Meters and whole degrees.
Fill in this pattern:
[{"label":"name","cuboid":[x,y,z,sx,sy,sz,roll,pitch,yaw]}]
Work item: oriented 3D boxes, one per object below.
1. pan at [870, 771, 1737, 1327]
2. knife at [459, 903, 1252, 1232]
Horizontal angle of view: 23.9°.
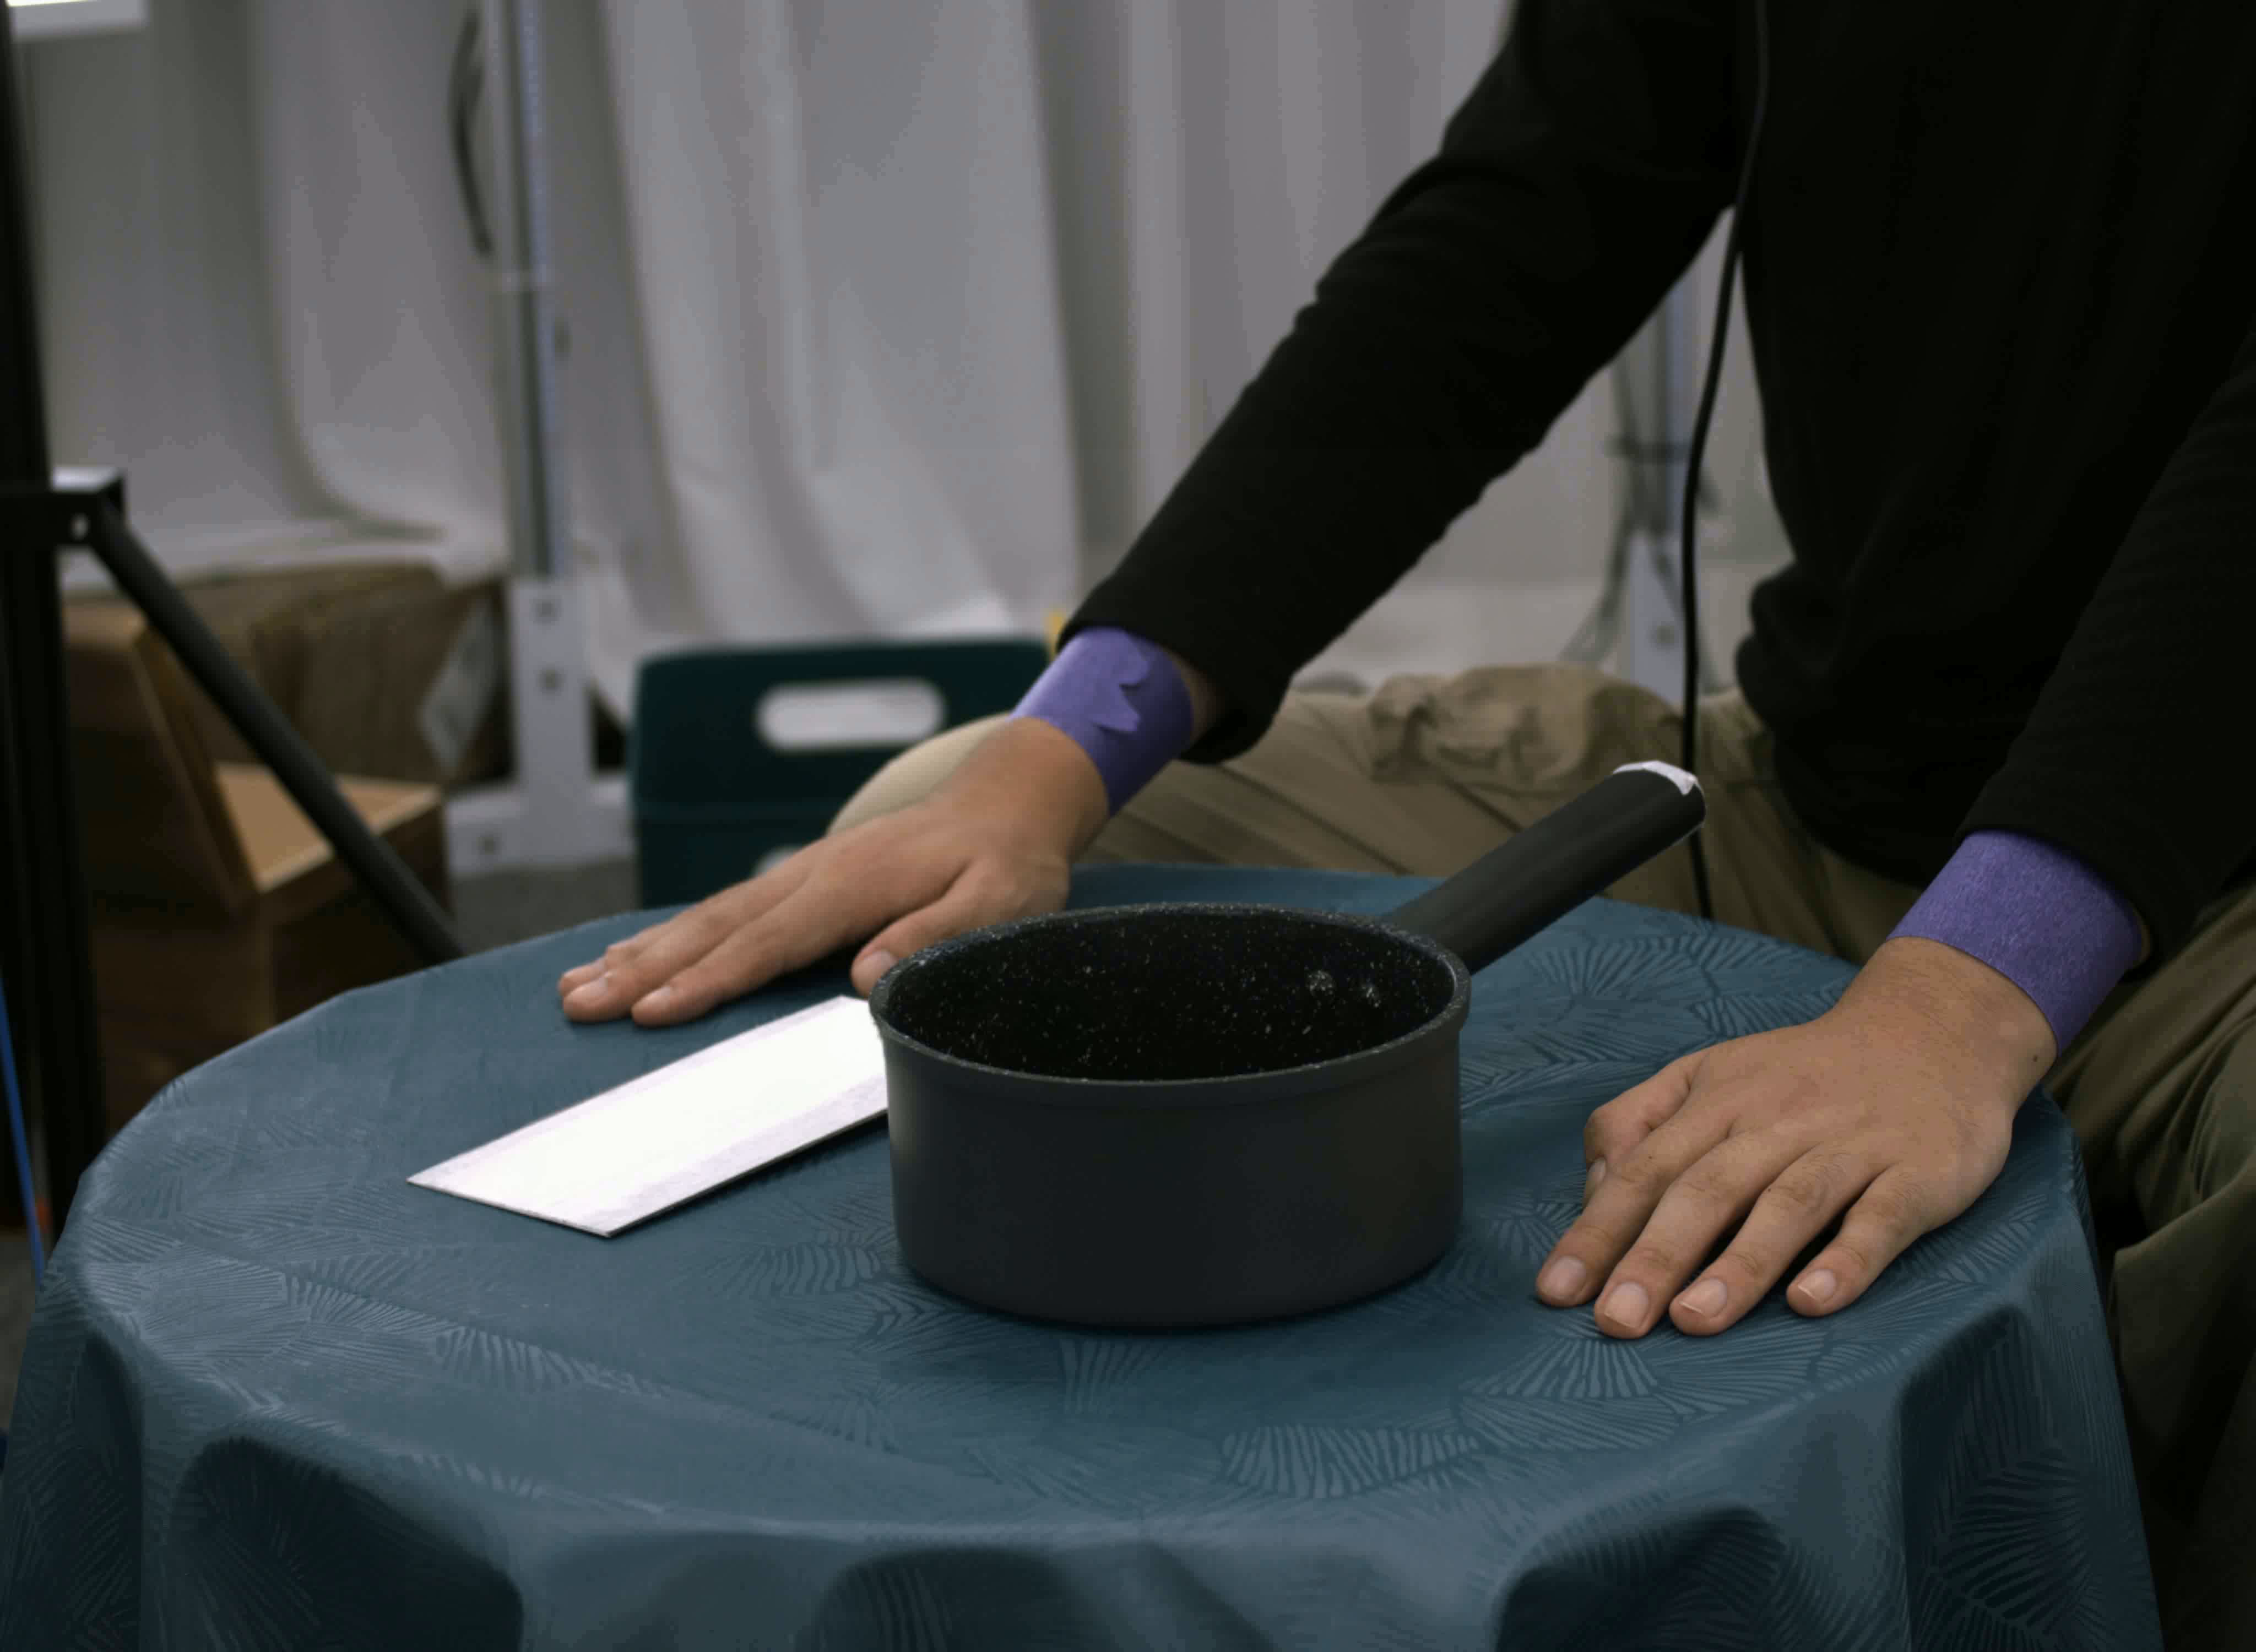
[{"label":"pan","cuboid":[0.067,0.062,1.558,0.176,0.086,0.321,13,23,43]},{"label":"knife","cuboid":[-0.083,0.072,1.668,0.095,0.021,0.299,10,22,41]}]
